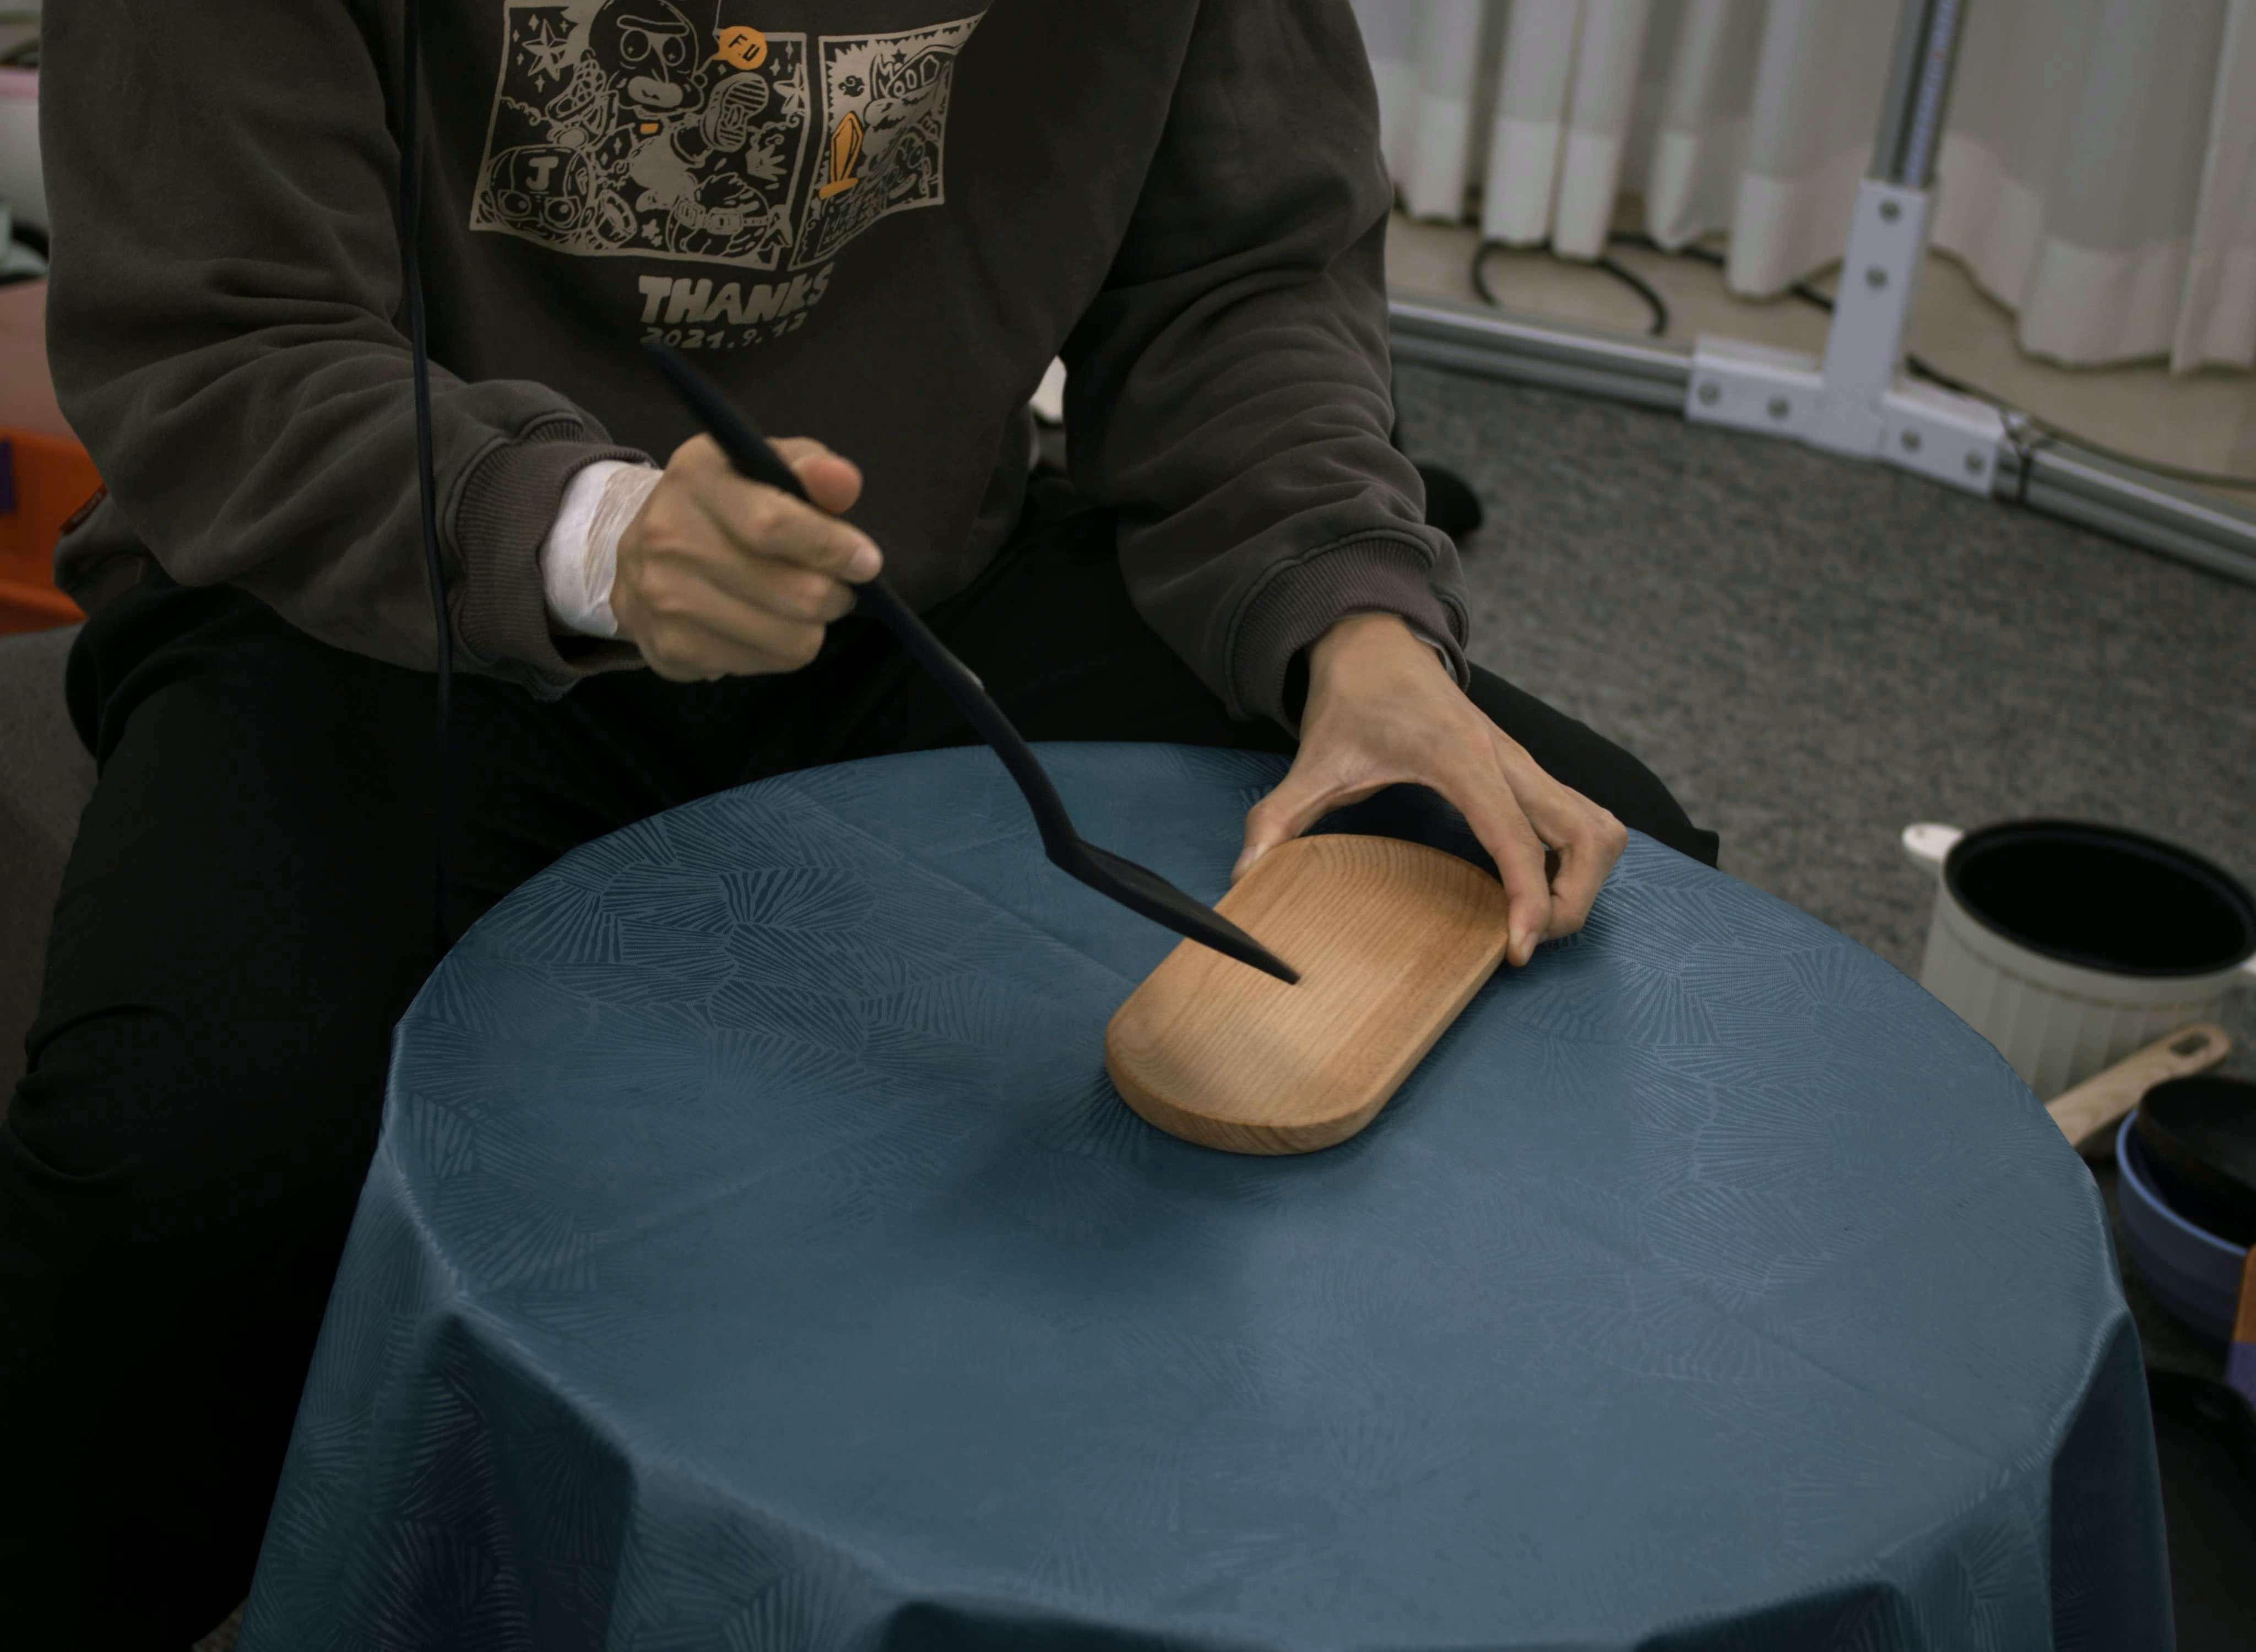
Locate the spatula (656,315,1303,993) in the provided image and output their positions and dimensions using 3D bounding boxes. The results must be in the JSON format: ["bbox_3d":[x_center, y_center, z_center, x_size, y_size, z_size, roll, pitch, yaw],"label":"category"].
[{"bbox_3d":[-0.053,-0.056,1.775,0.040,0.324,0.100,-42,28,-10],"label":"spatula"}]

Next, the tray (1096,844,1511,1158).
[{"bbox_3d":[0.065,0.061,1.924,0.102,0.020,0.231,16,30,19],"label":"tray"}]
